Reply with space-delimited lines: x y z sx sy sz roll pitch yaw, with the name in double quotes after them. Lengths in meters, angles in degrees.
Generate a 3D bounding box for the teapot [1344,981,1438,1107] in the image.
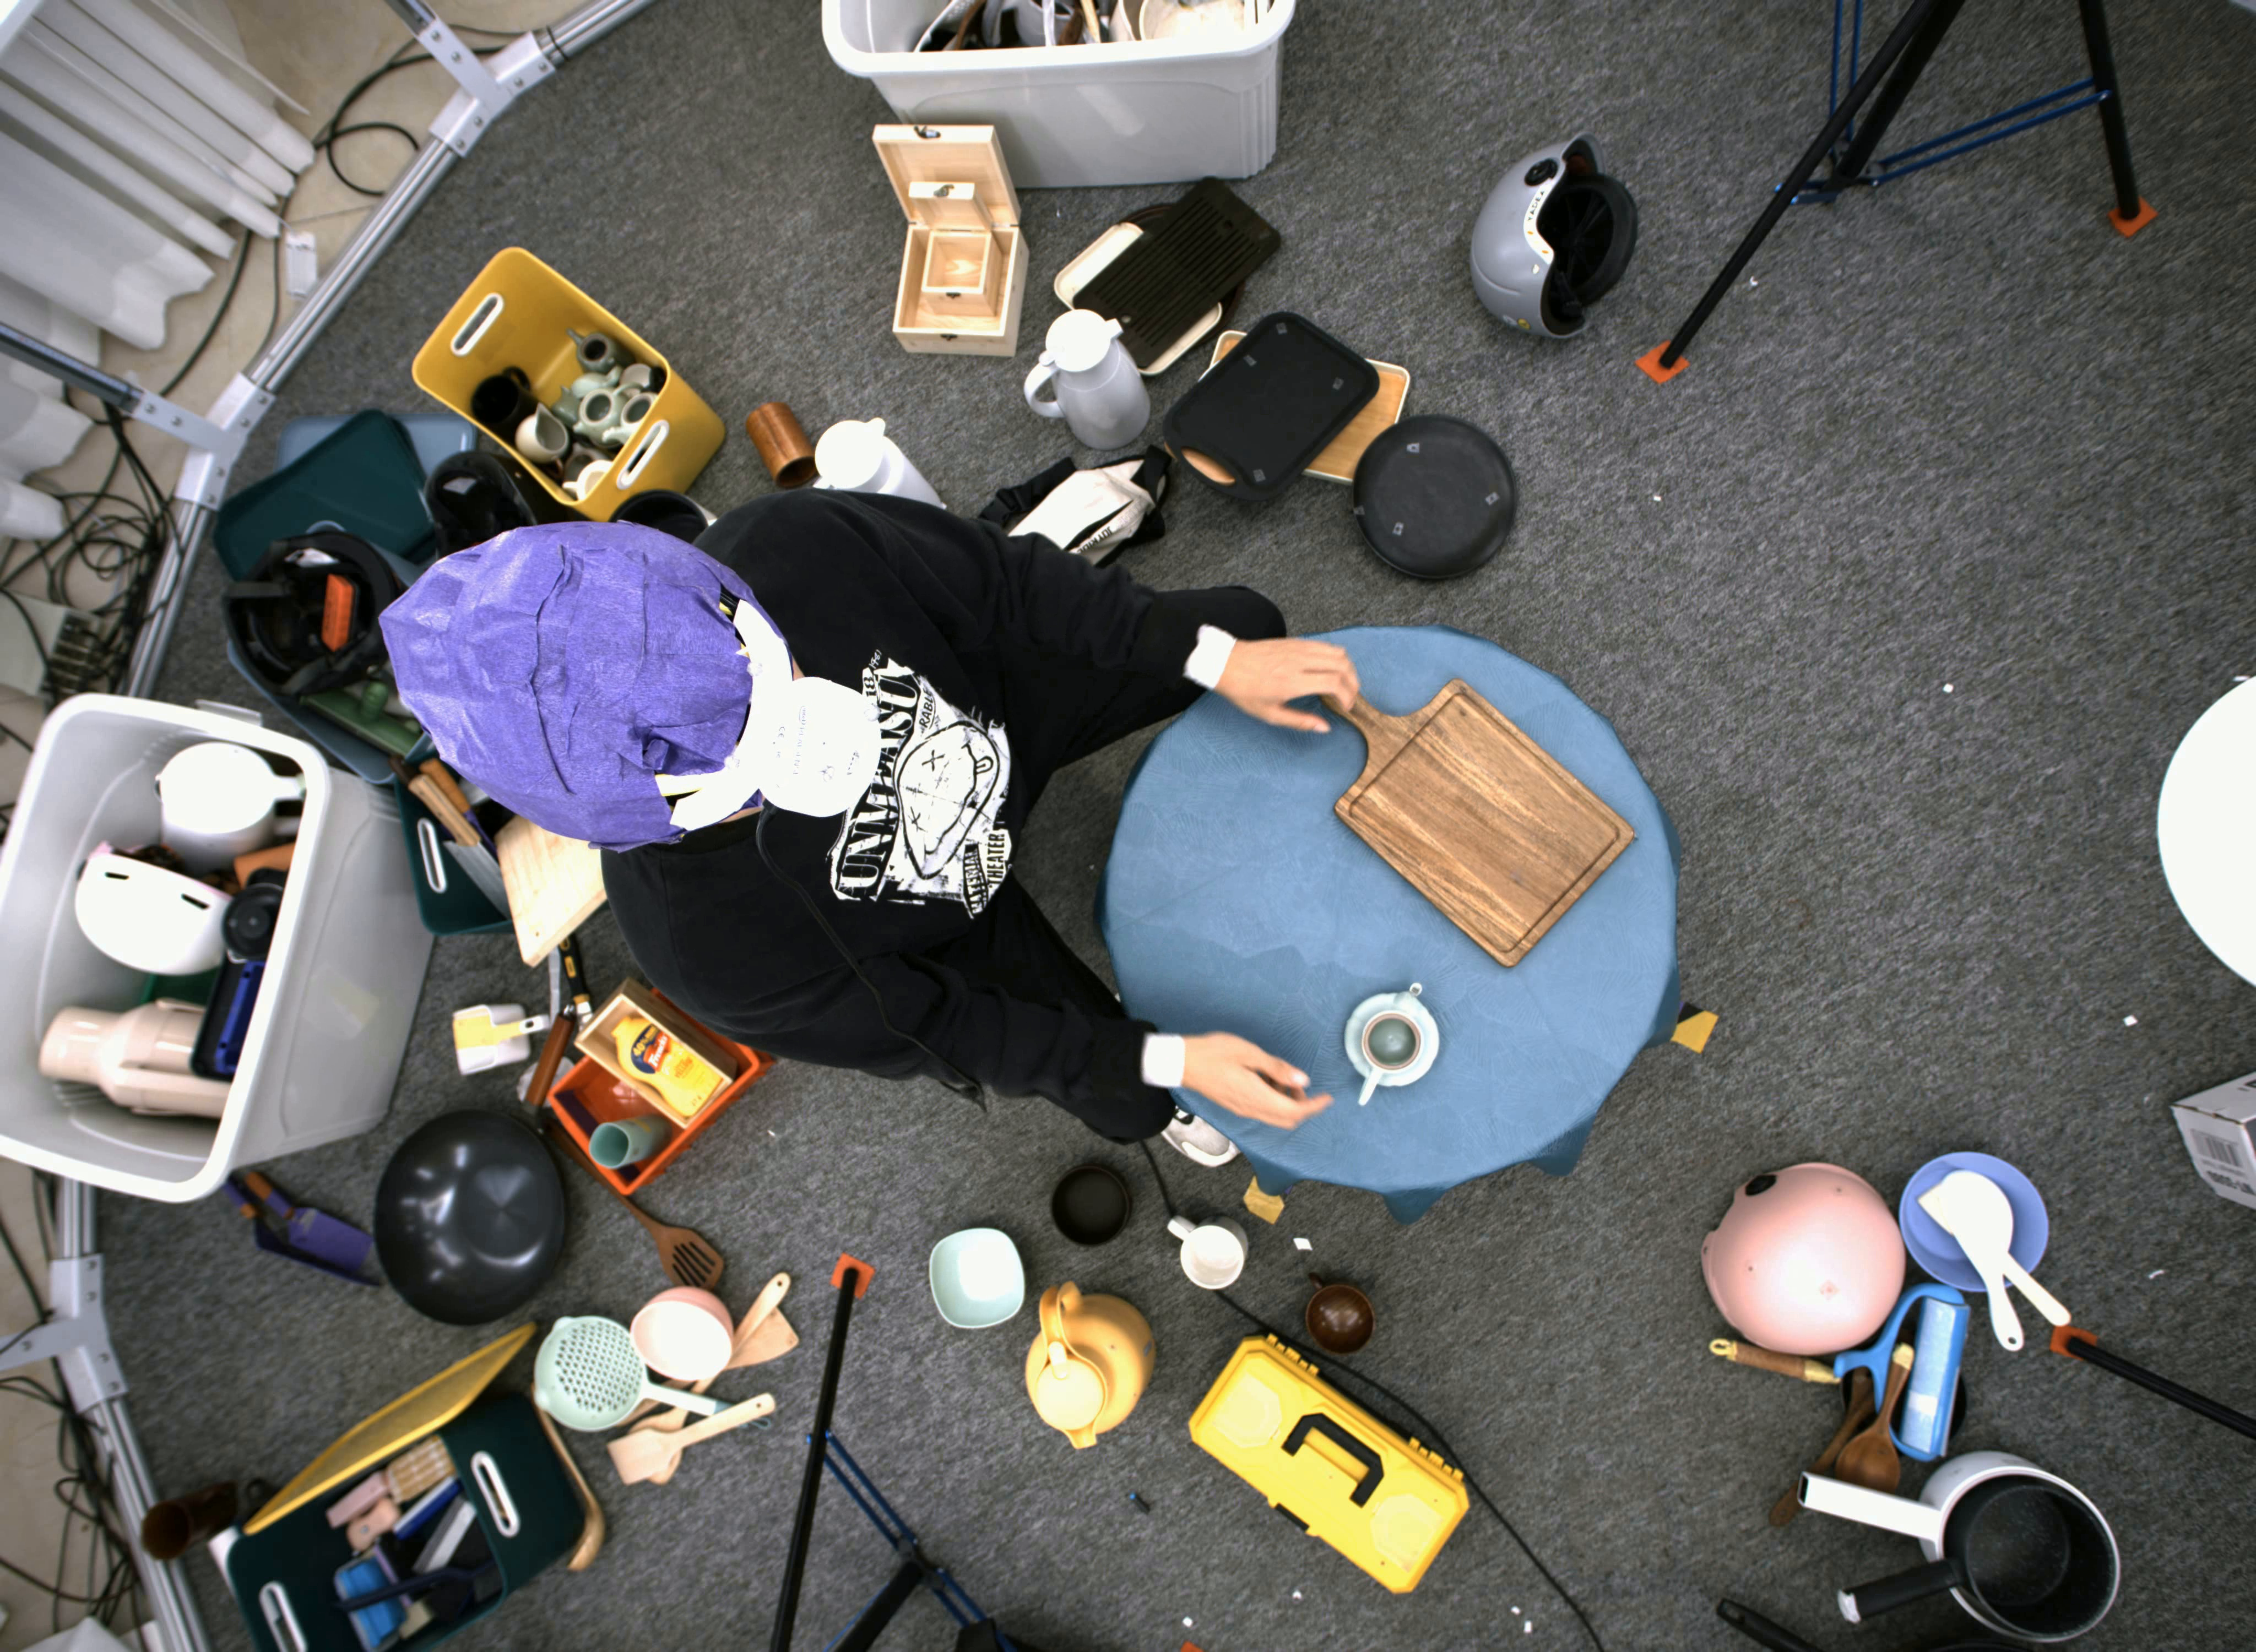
0.269 0.222 1.424 0.096 0.061 0.137 23 91 10 "teapot"

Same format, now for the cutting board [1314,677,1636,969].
0.334 -0.039 1.443 0.351 0.023 0.202 42 95 10 "cutting board"
